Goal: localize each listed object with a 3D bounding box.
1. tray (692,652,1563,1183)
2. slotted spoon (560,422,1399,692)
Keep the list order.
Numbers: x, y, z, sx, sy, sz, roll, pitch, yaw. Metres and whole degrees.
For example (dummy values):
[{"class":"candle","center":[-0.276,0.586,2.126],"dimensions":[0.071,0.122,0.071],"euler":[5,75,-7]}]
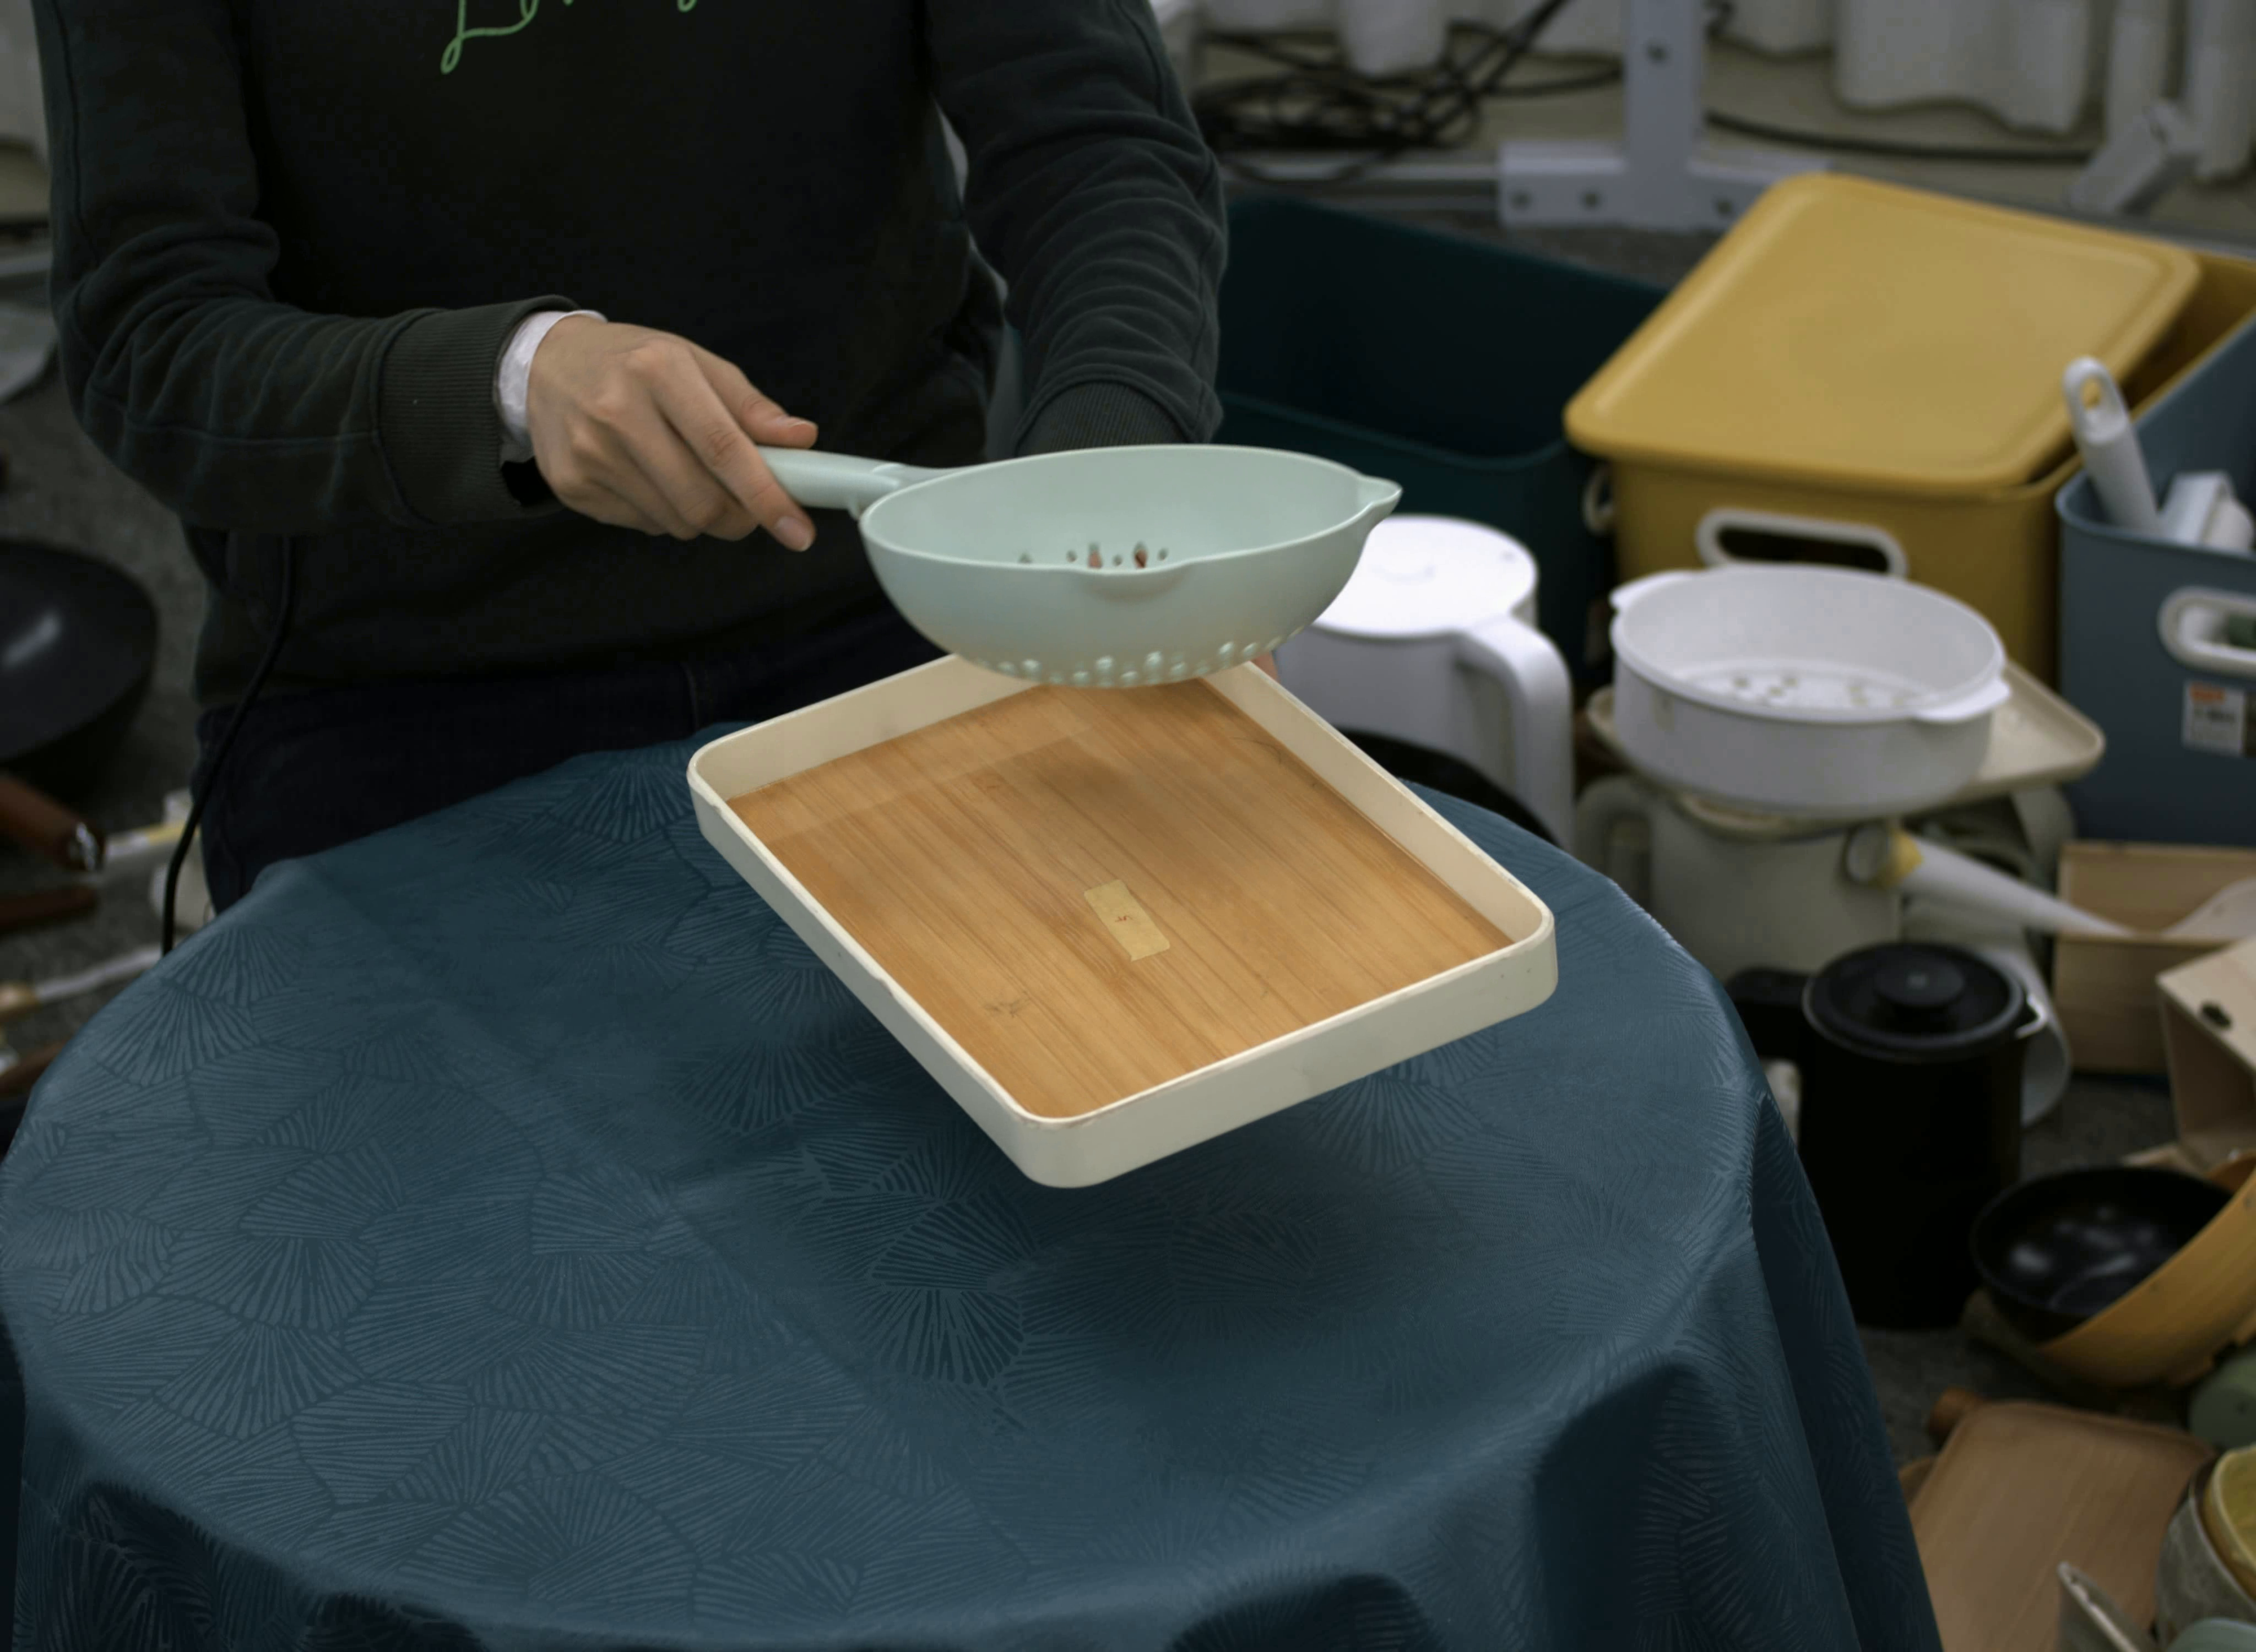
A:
[{"class":"tray","center":[-0.006,0.014,1.855],"dimensions":[0.192,0.027,0.302],"euler":[-20,31,-19]},{"class":"slotted spoon","center":[-0.073,-0.108,1.916],"dimensions":[0.358,0.075,0.171],"euler":[21,27,39]}]
